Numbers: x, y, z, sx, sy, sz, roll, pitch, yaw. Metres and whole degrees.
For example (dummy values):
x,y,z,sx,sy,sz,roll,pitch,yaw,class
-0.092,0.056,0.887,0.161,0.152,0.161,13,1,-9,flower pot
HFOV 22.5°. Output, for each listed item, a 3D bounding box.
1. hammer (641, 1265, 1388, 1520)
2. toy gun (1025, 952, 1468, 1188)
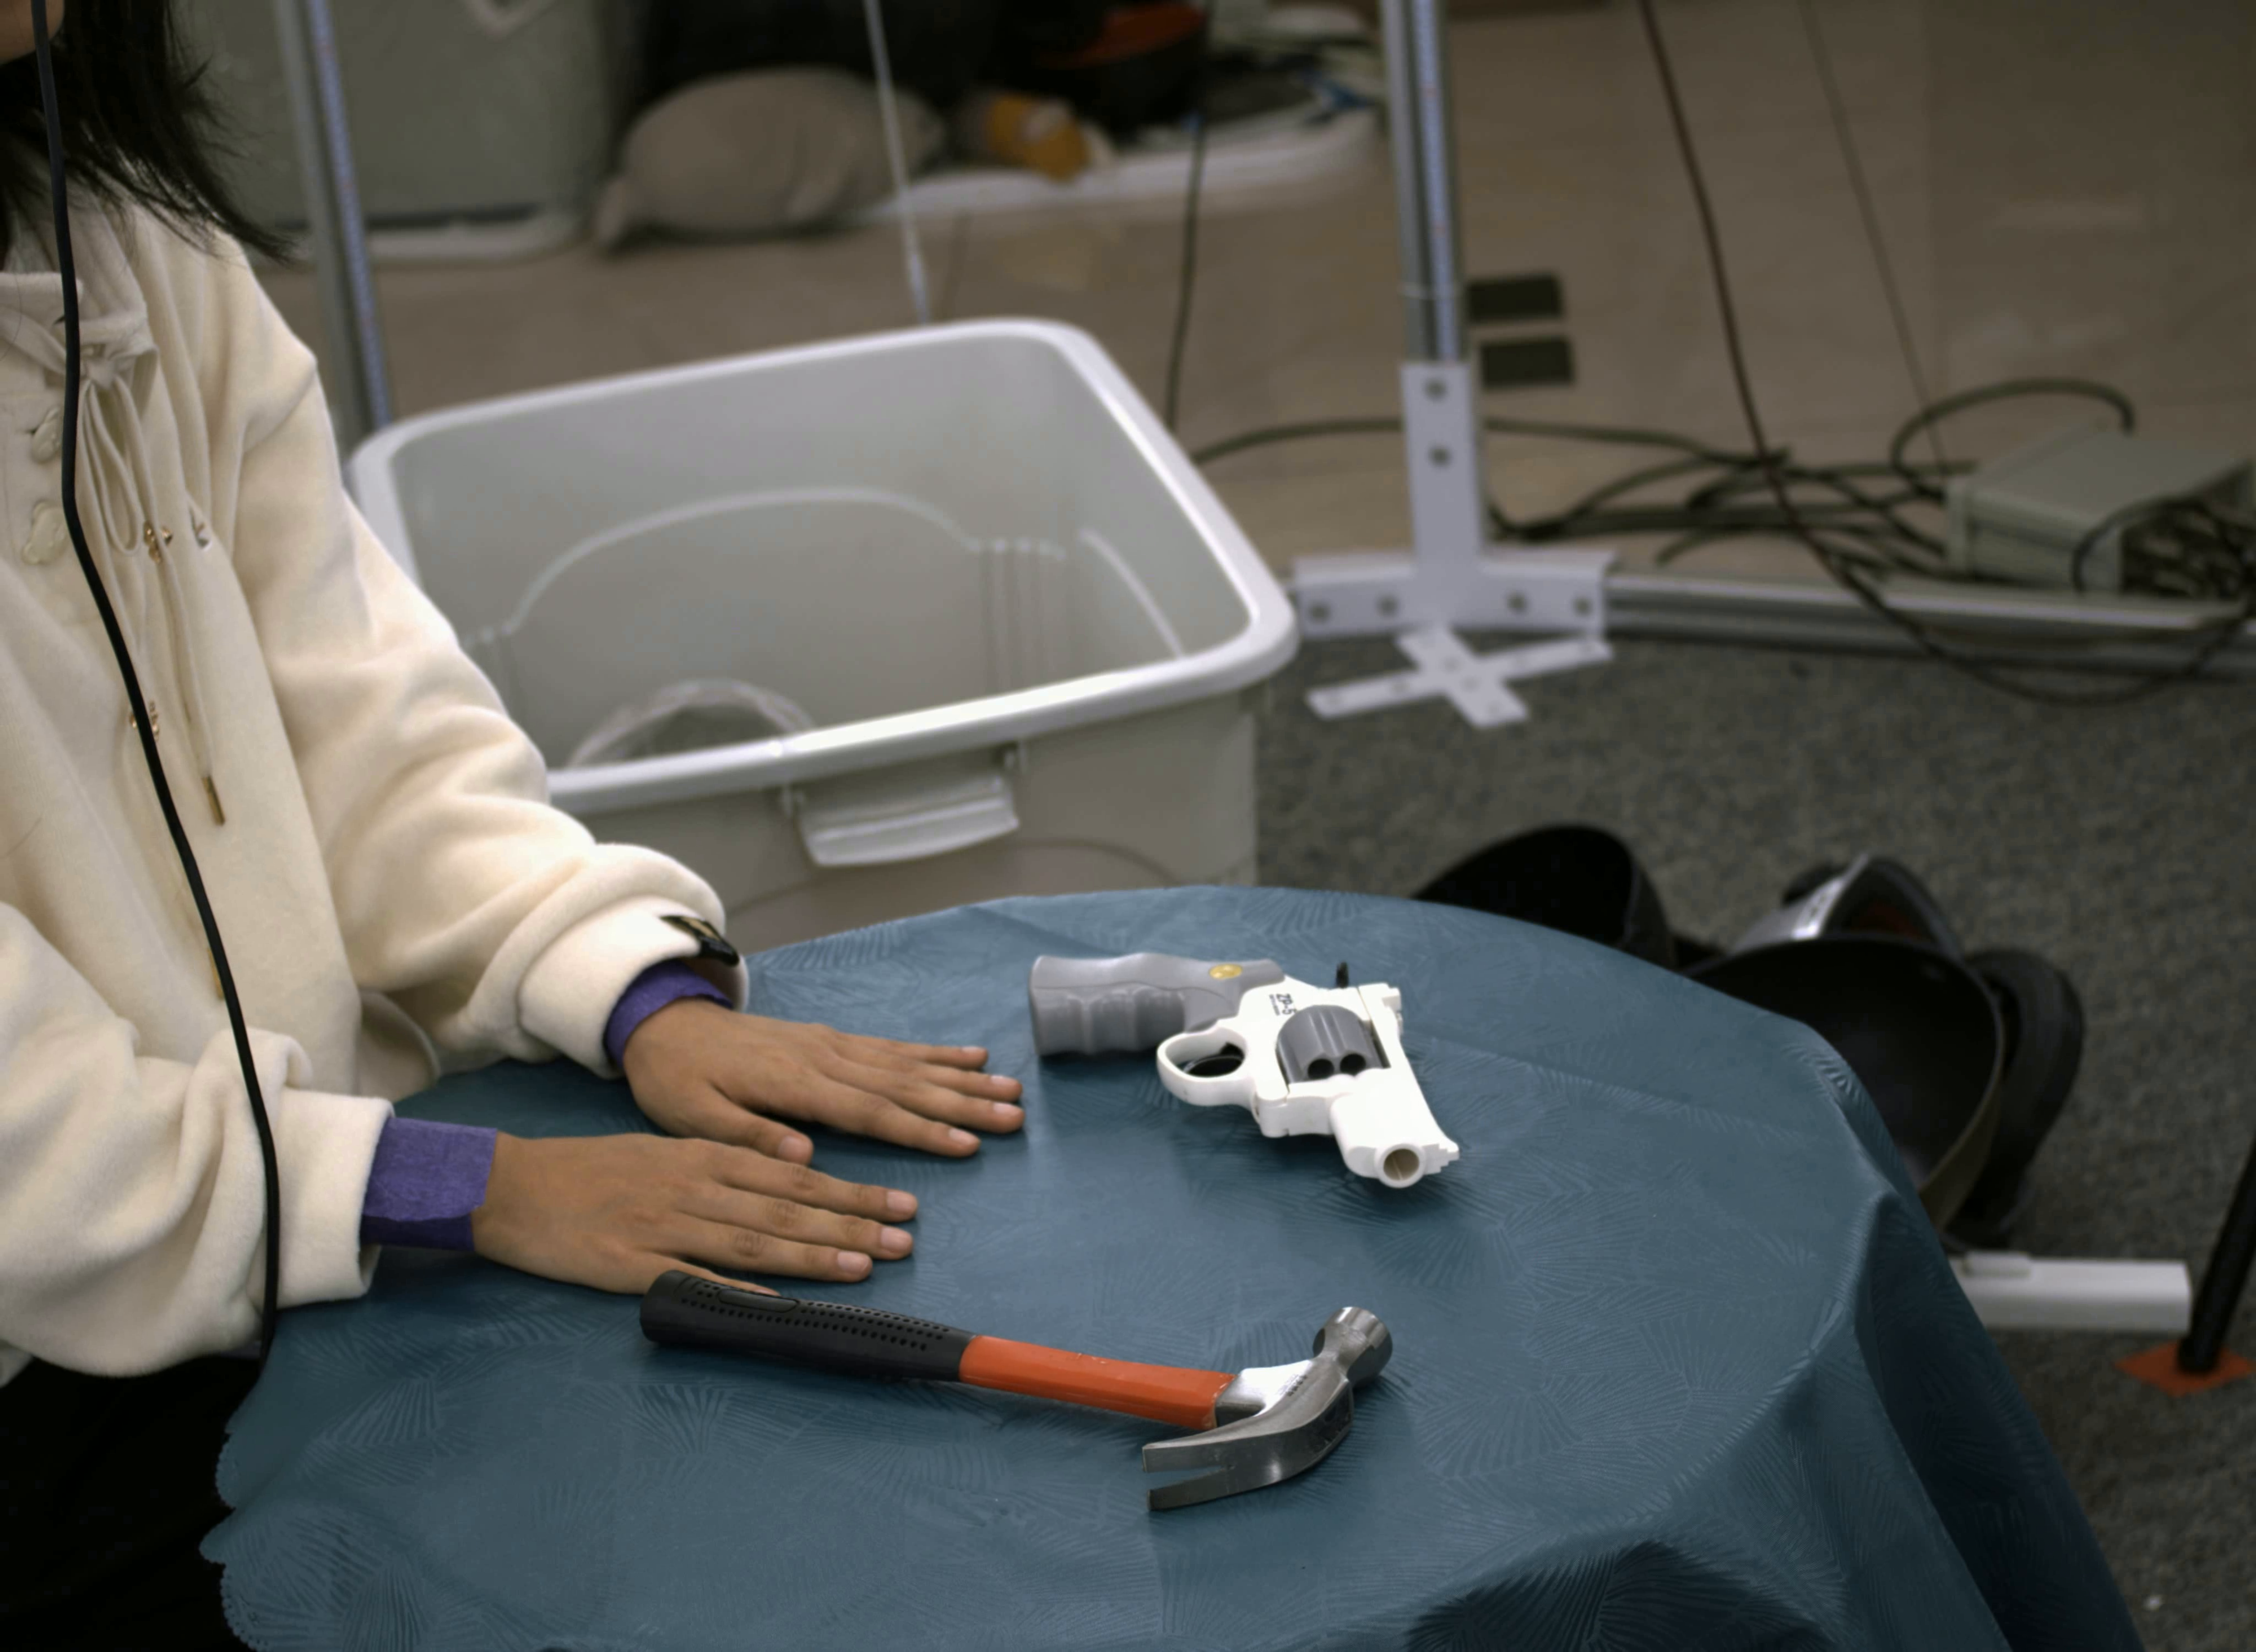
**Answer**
x,y,z,sx,sy,sz,roll,pitch,yaw,class
-0.052,0.189,2.019,0.276,0.027,0.109,7,37,27,hammer
0.042,0.092,2.191,0.141,0.039,0.206,-7,24,-8,toy gun
